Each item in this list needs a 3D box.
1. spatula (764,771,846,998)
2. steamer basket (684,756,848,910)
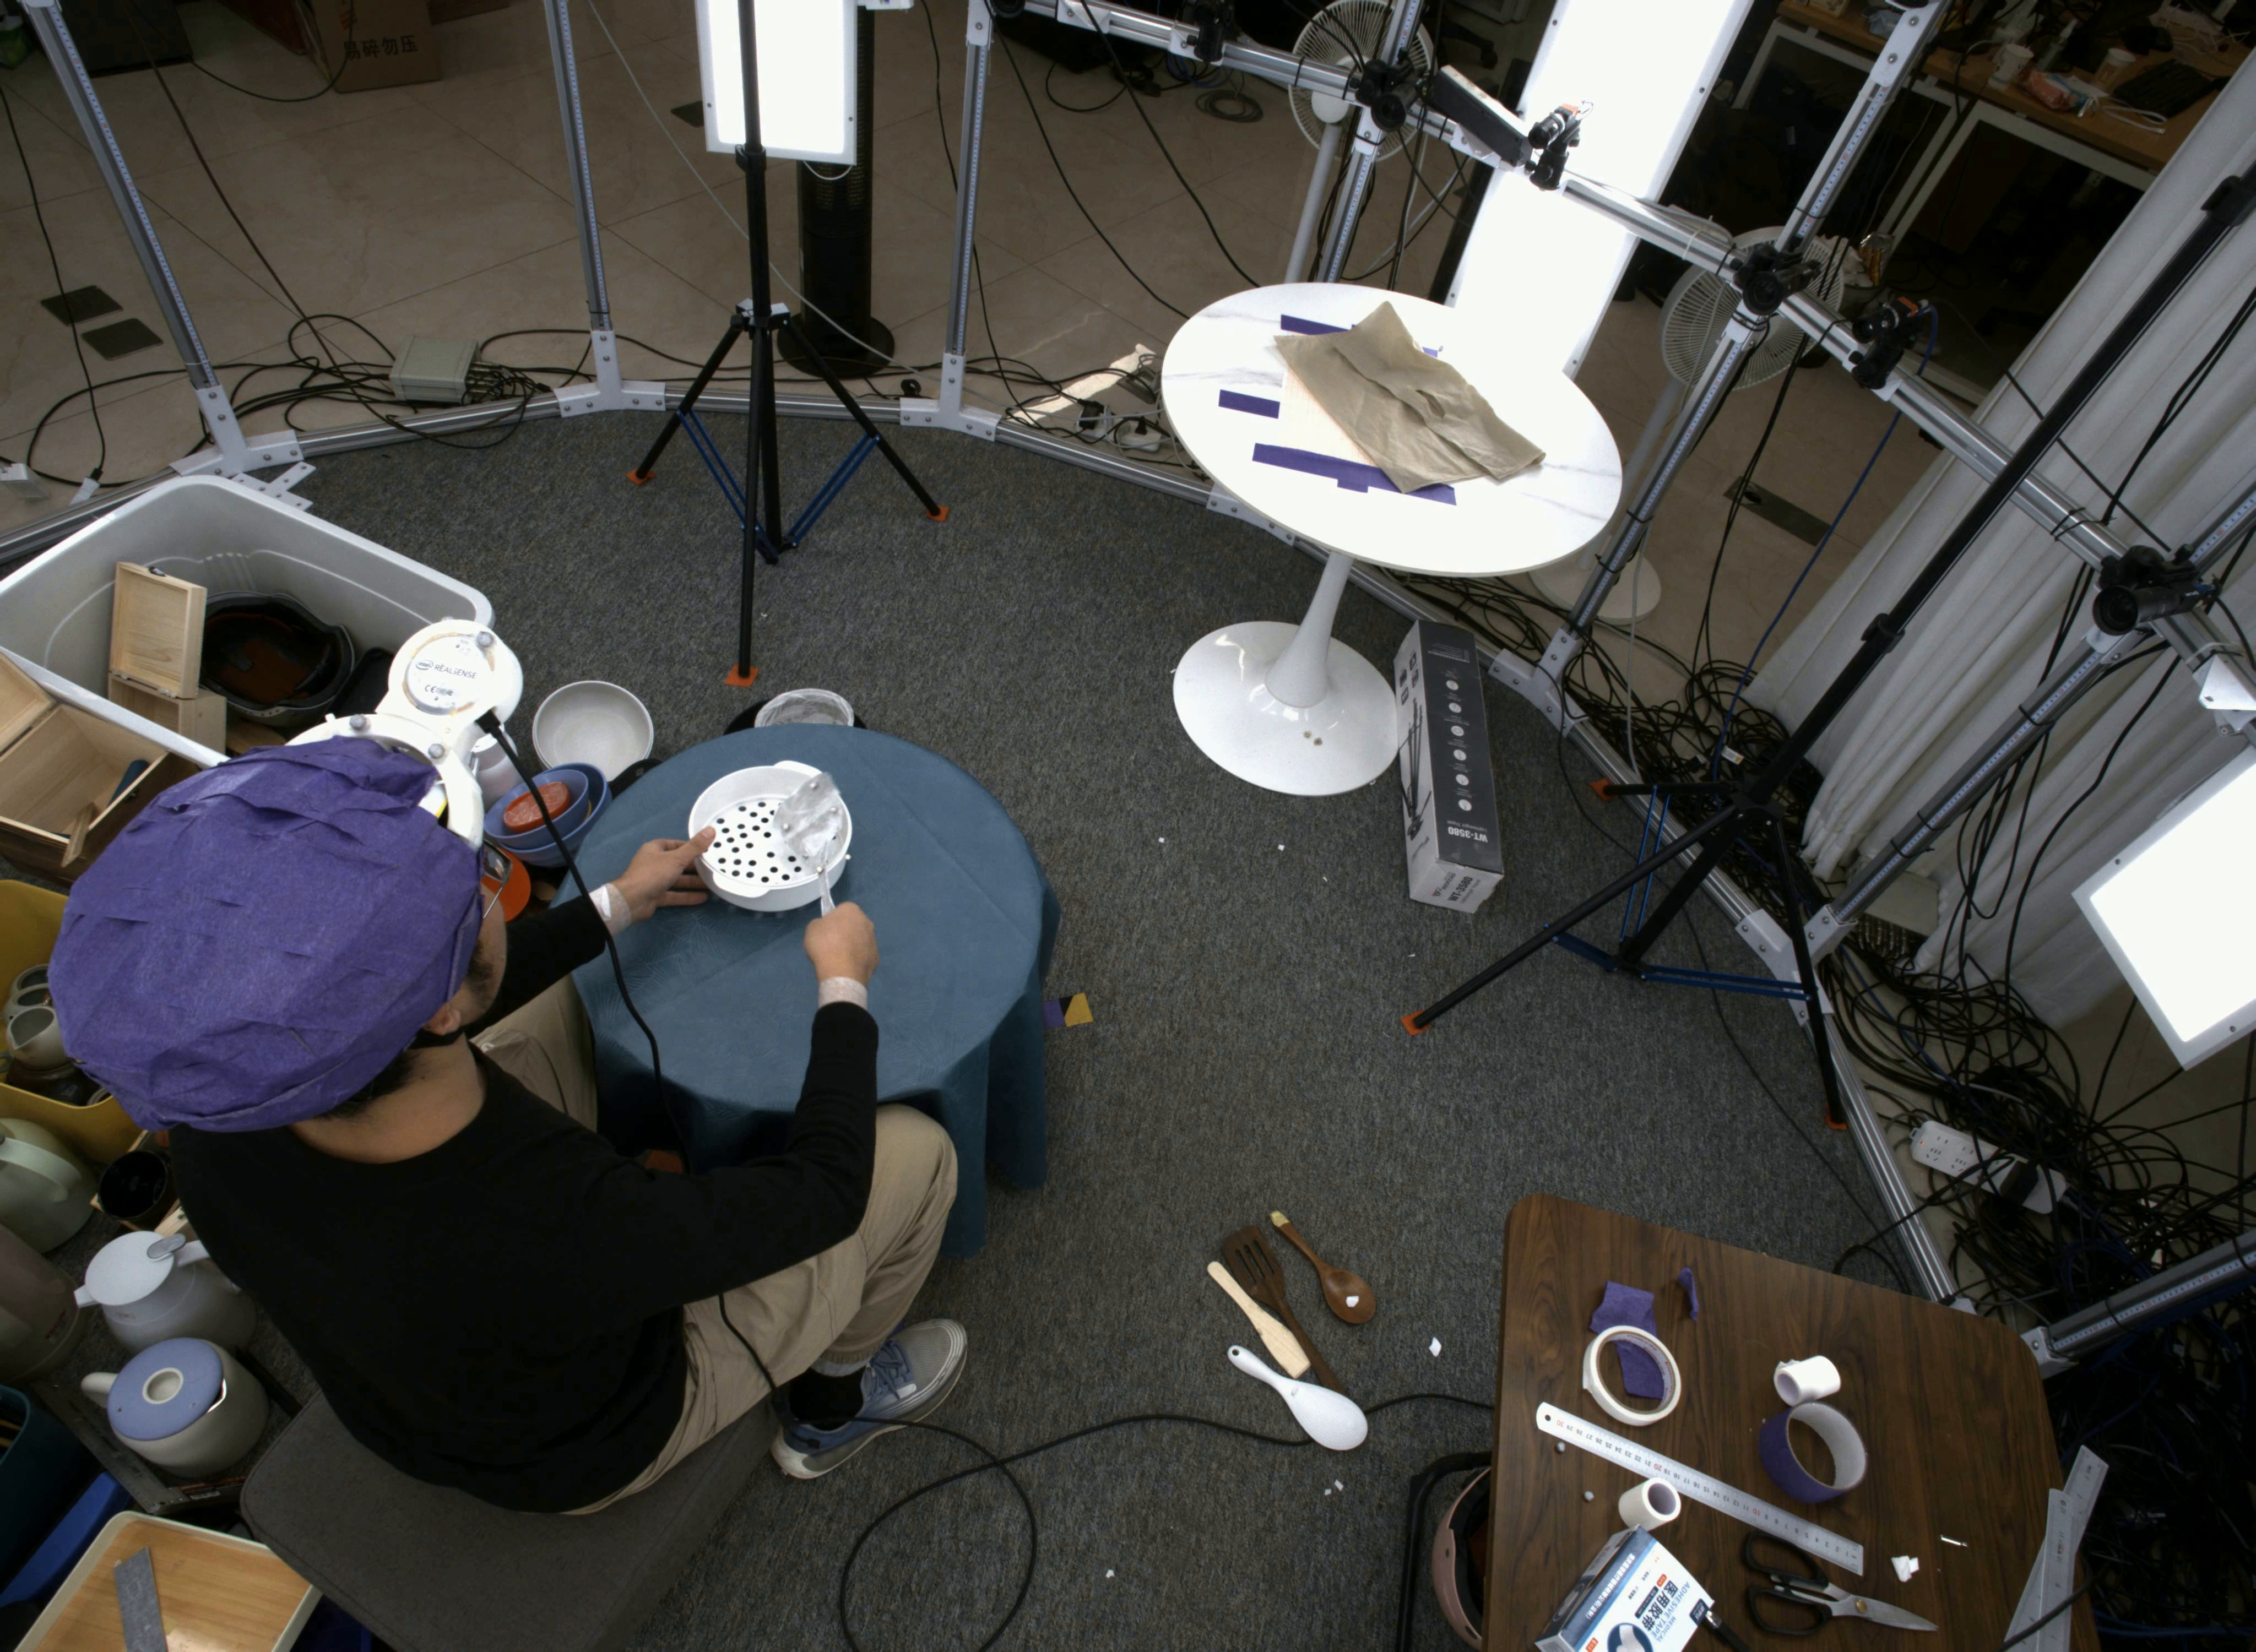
[{"bbox_3d":[-0.370,0.064,1.525,0.098,0.046,0.353,-40,39,10],"label":"spatula"},{"bbox_3d":[-0.460,0.013,1.650,0.200,0.070,0.227,17,49,-2],"label":"steamer basket"}]
